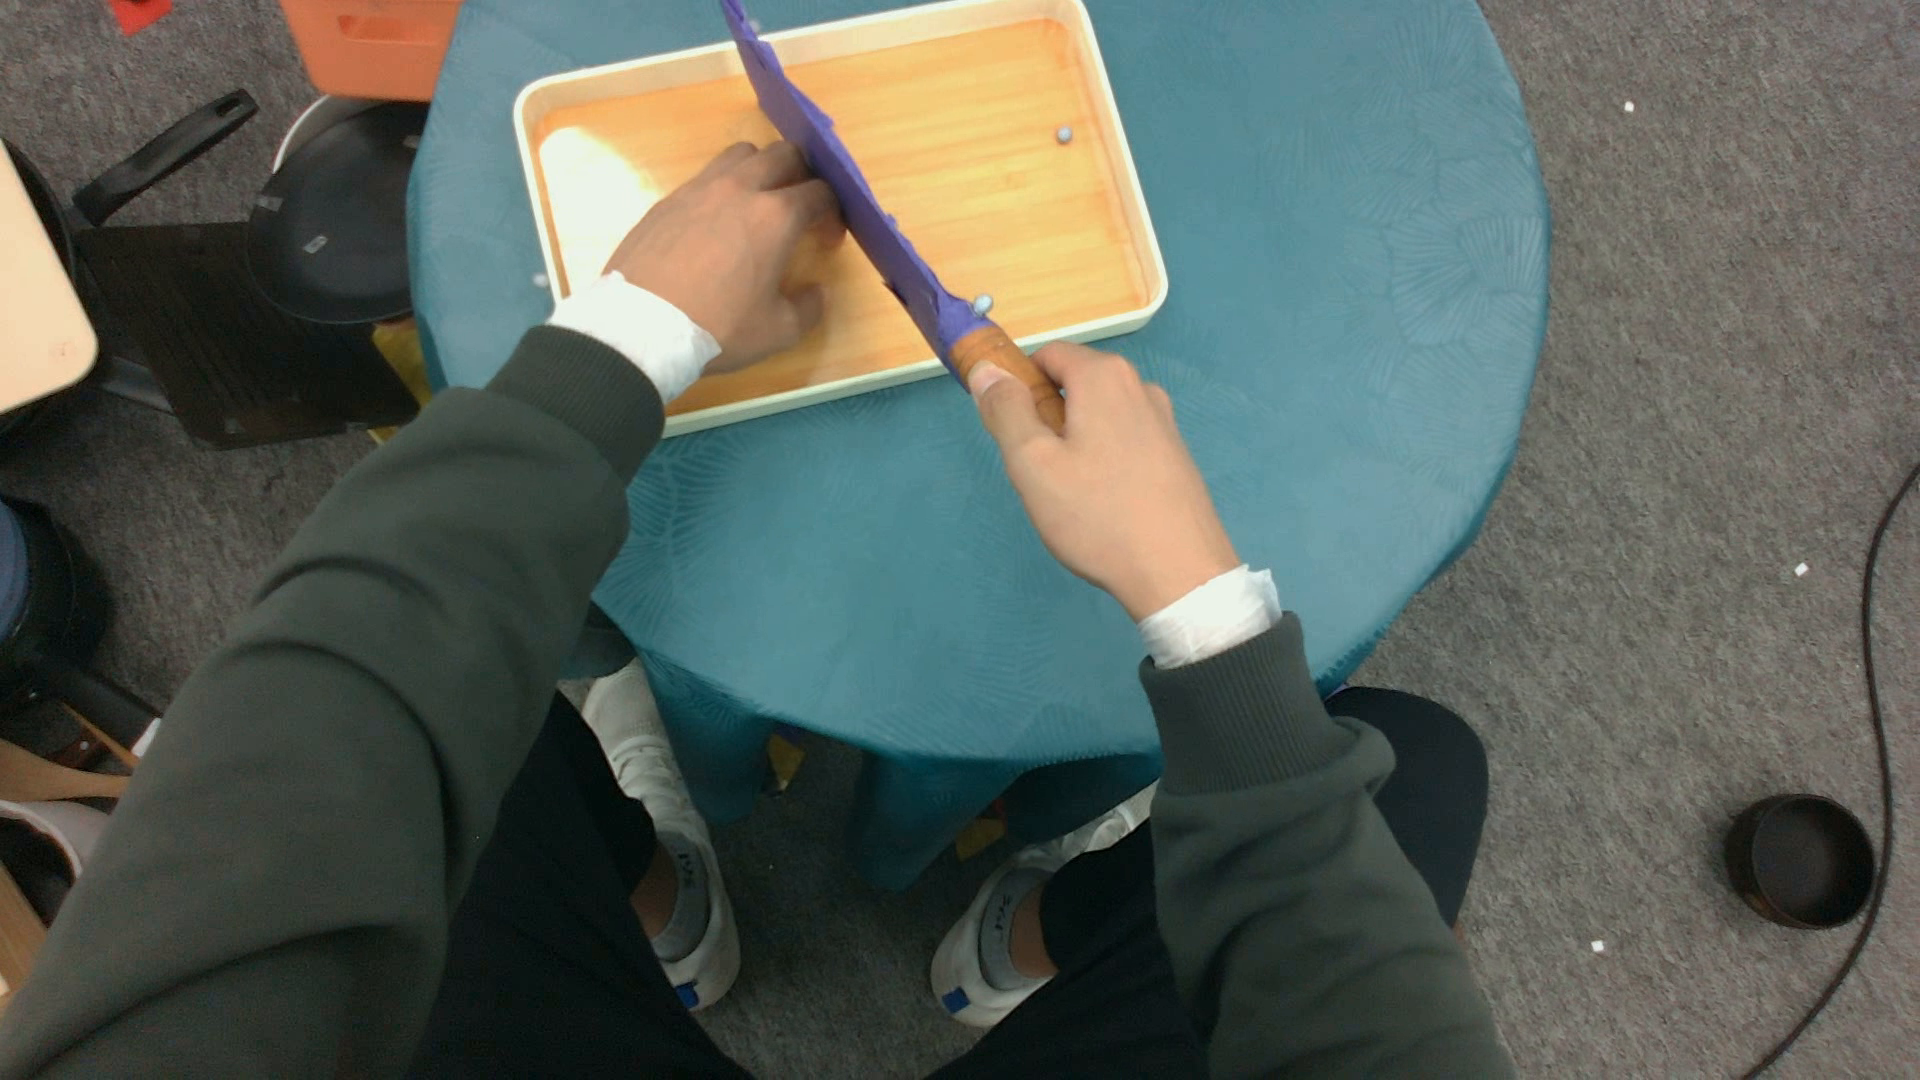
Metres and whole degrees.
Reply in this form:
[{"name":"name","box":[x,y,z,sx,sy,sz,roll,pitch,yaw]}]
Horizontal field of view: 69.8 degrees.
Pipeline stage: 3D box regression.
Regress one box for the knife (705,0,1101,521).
[{"name":"knife","box":[-0.033,-0.131,0.629,0.032,0.103,0.315,-31,72,-4]}]

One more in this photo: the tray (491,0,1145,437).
[{"name":"tray","box":[-0.070,-0.174,0.705,0.300,0.027,0.192,-14,80,-9]}]
